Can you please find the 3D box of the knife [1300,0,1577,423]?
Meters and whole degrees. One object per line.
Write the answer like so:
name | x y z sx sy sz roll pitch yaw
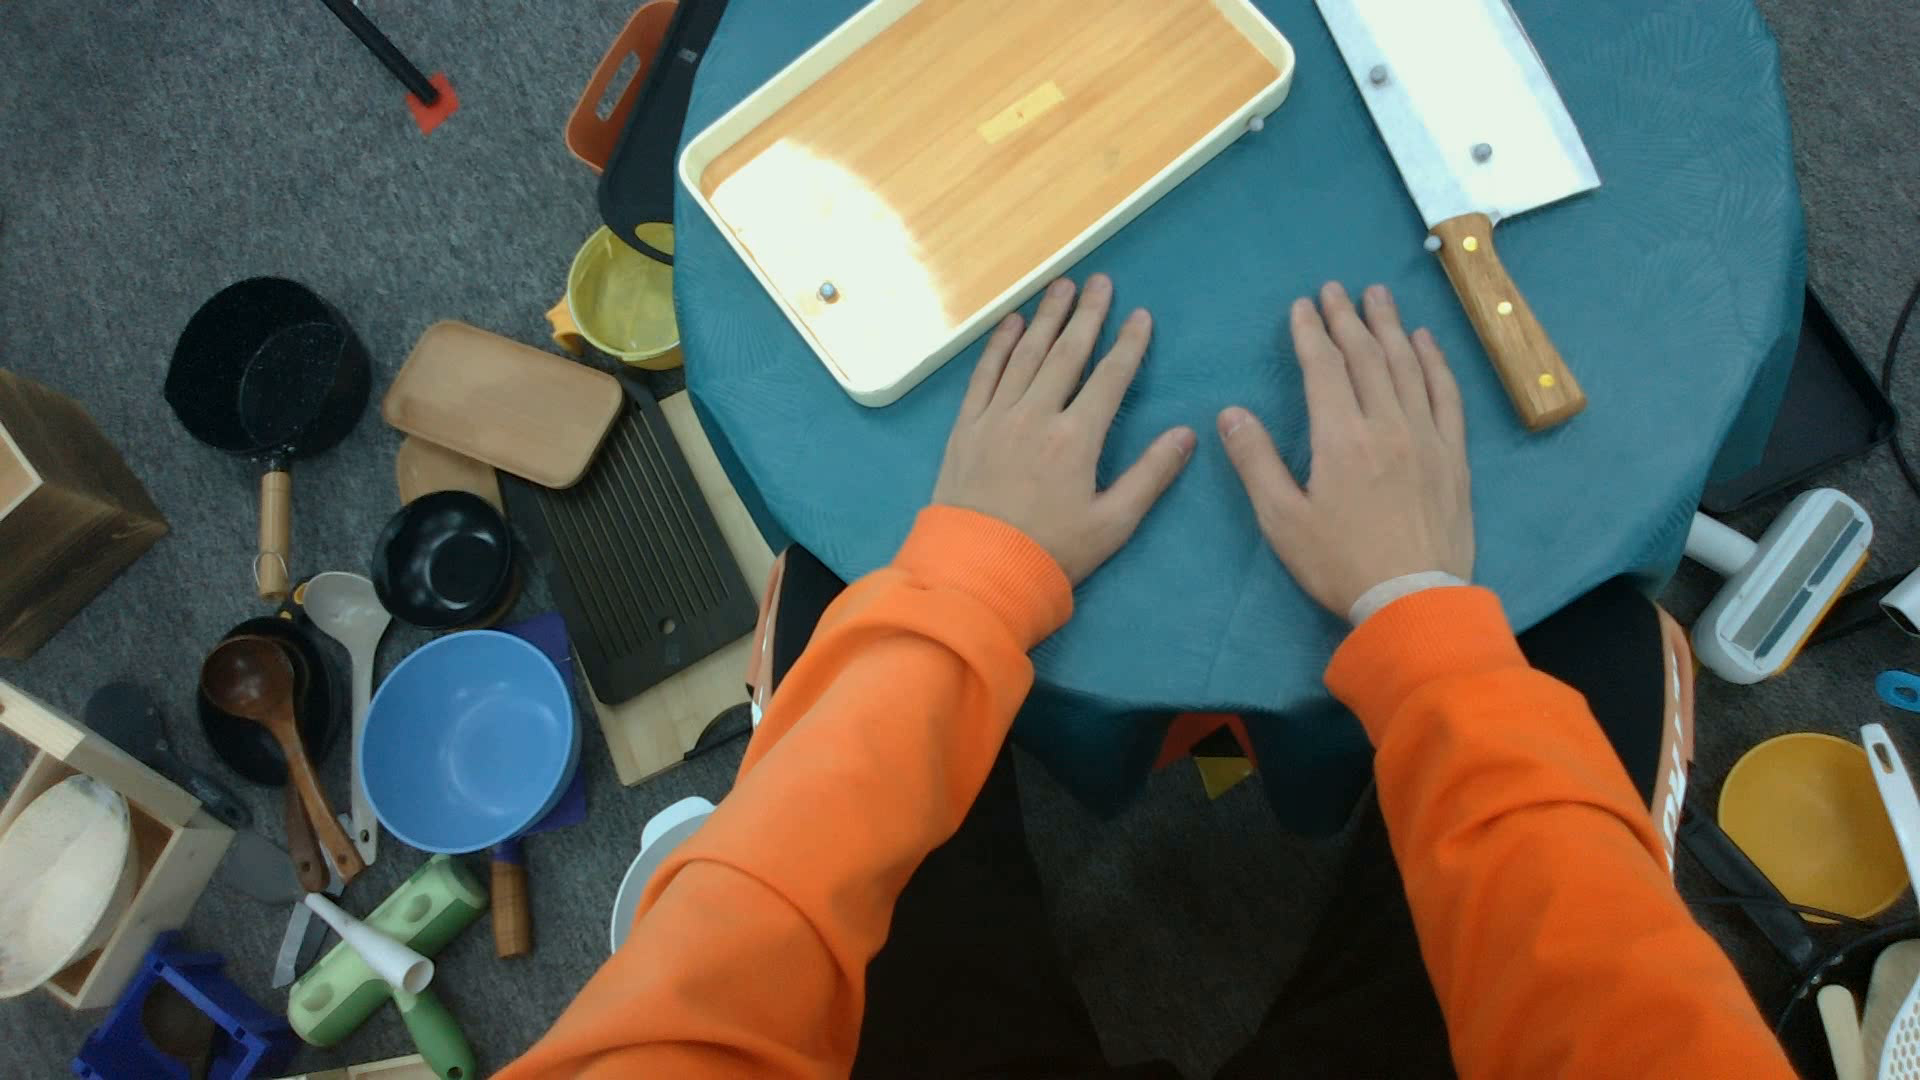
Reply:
knife | 0.264 -0.208 0.723 0.093 0.021 0.306 -20 72 1

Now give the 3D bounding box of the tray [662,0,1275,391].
tray | 0.002 -0.236 0.760 0.300 0.027 0.192 -37 74 -3
